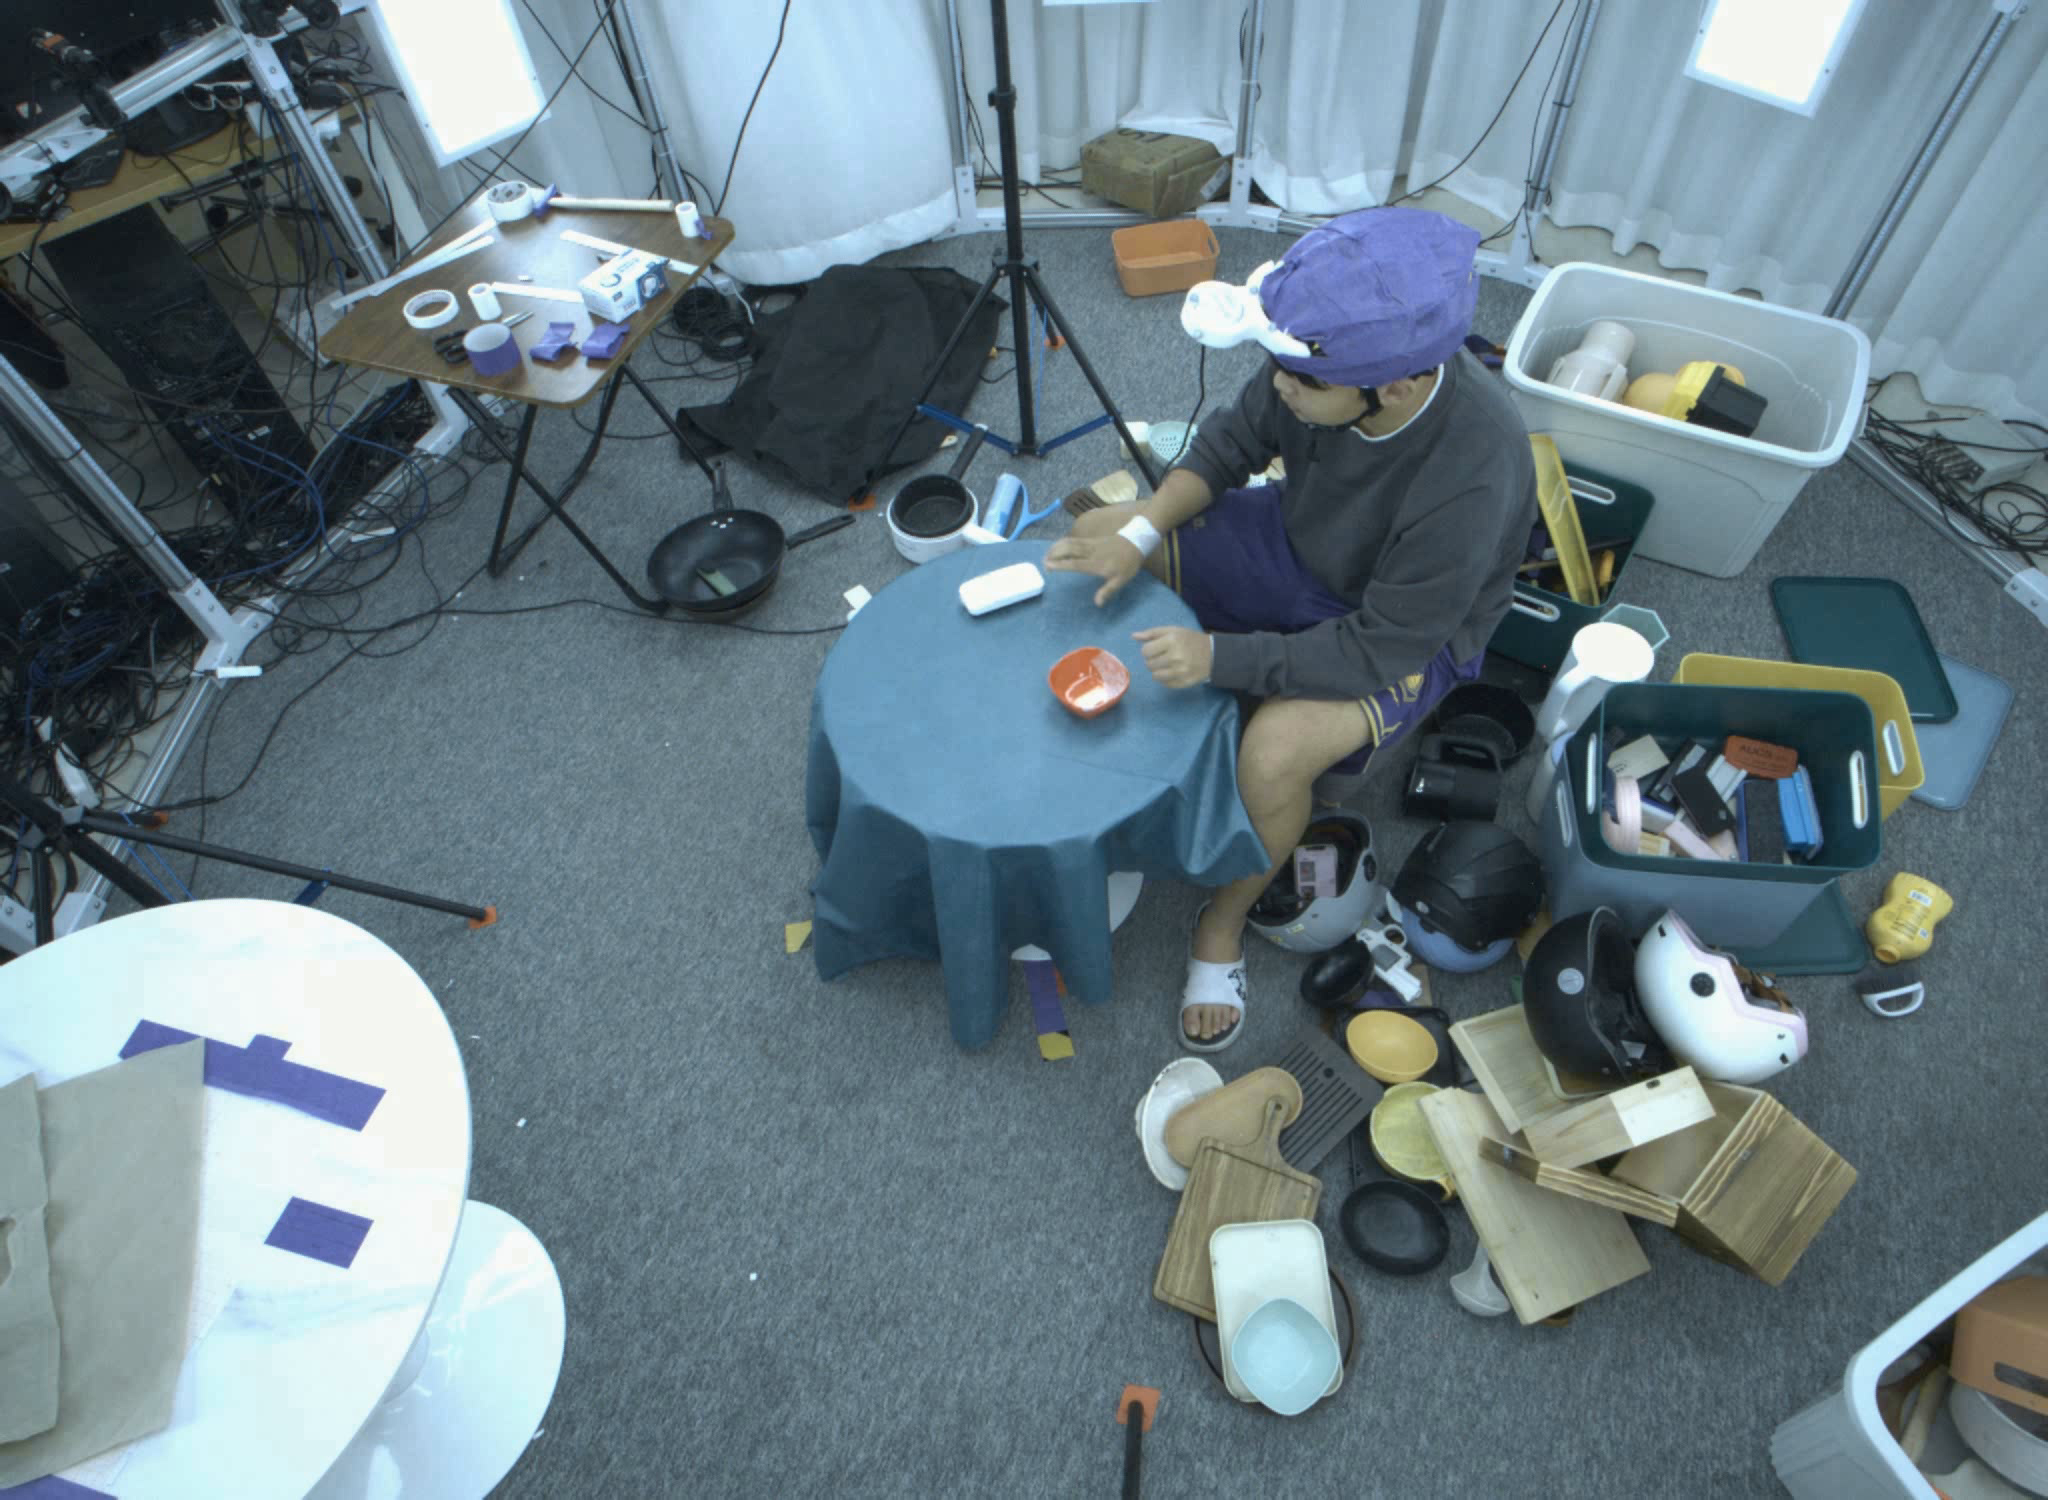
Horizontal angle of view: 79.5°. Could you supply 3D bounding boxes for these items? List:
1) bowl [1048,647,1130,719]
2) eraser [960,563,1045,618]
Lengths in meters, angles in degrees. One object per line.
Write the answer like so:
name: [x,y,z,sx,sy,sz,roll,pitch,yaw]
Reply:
bowl: [0.097,-0.092,1.820,0.119,0.052,0.117,-1,54,2]
eraser: [-0.034,-0.254,1.952,0.132,0.035,0.062,-20,57,-9]
